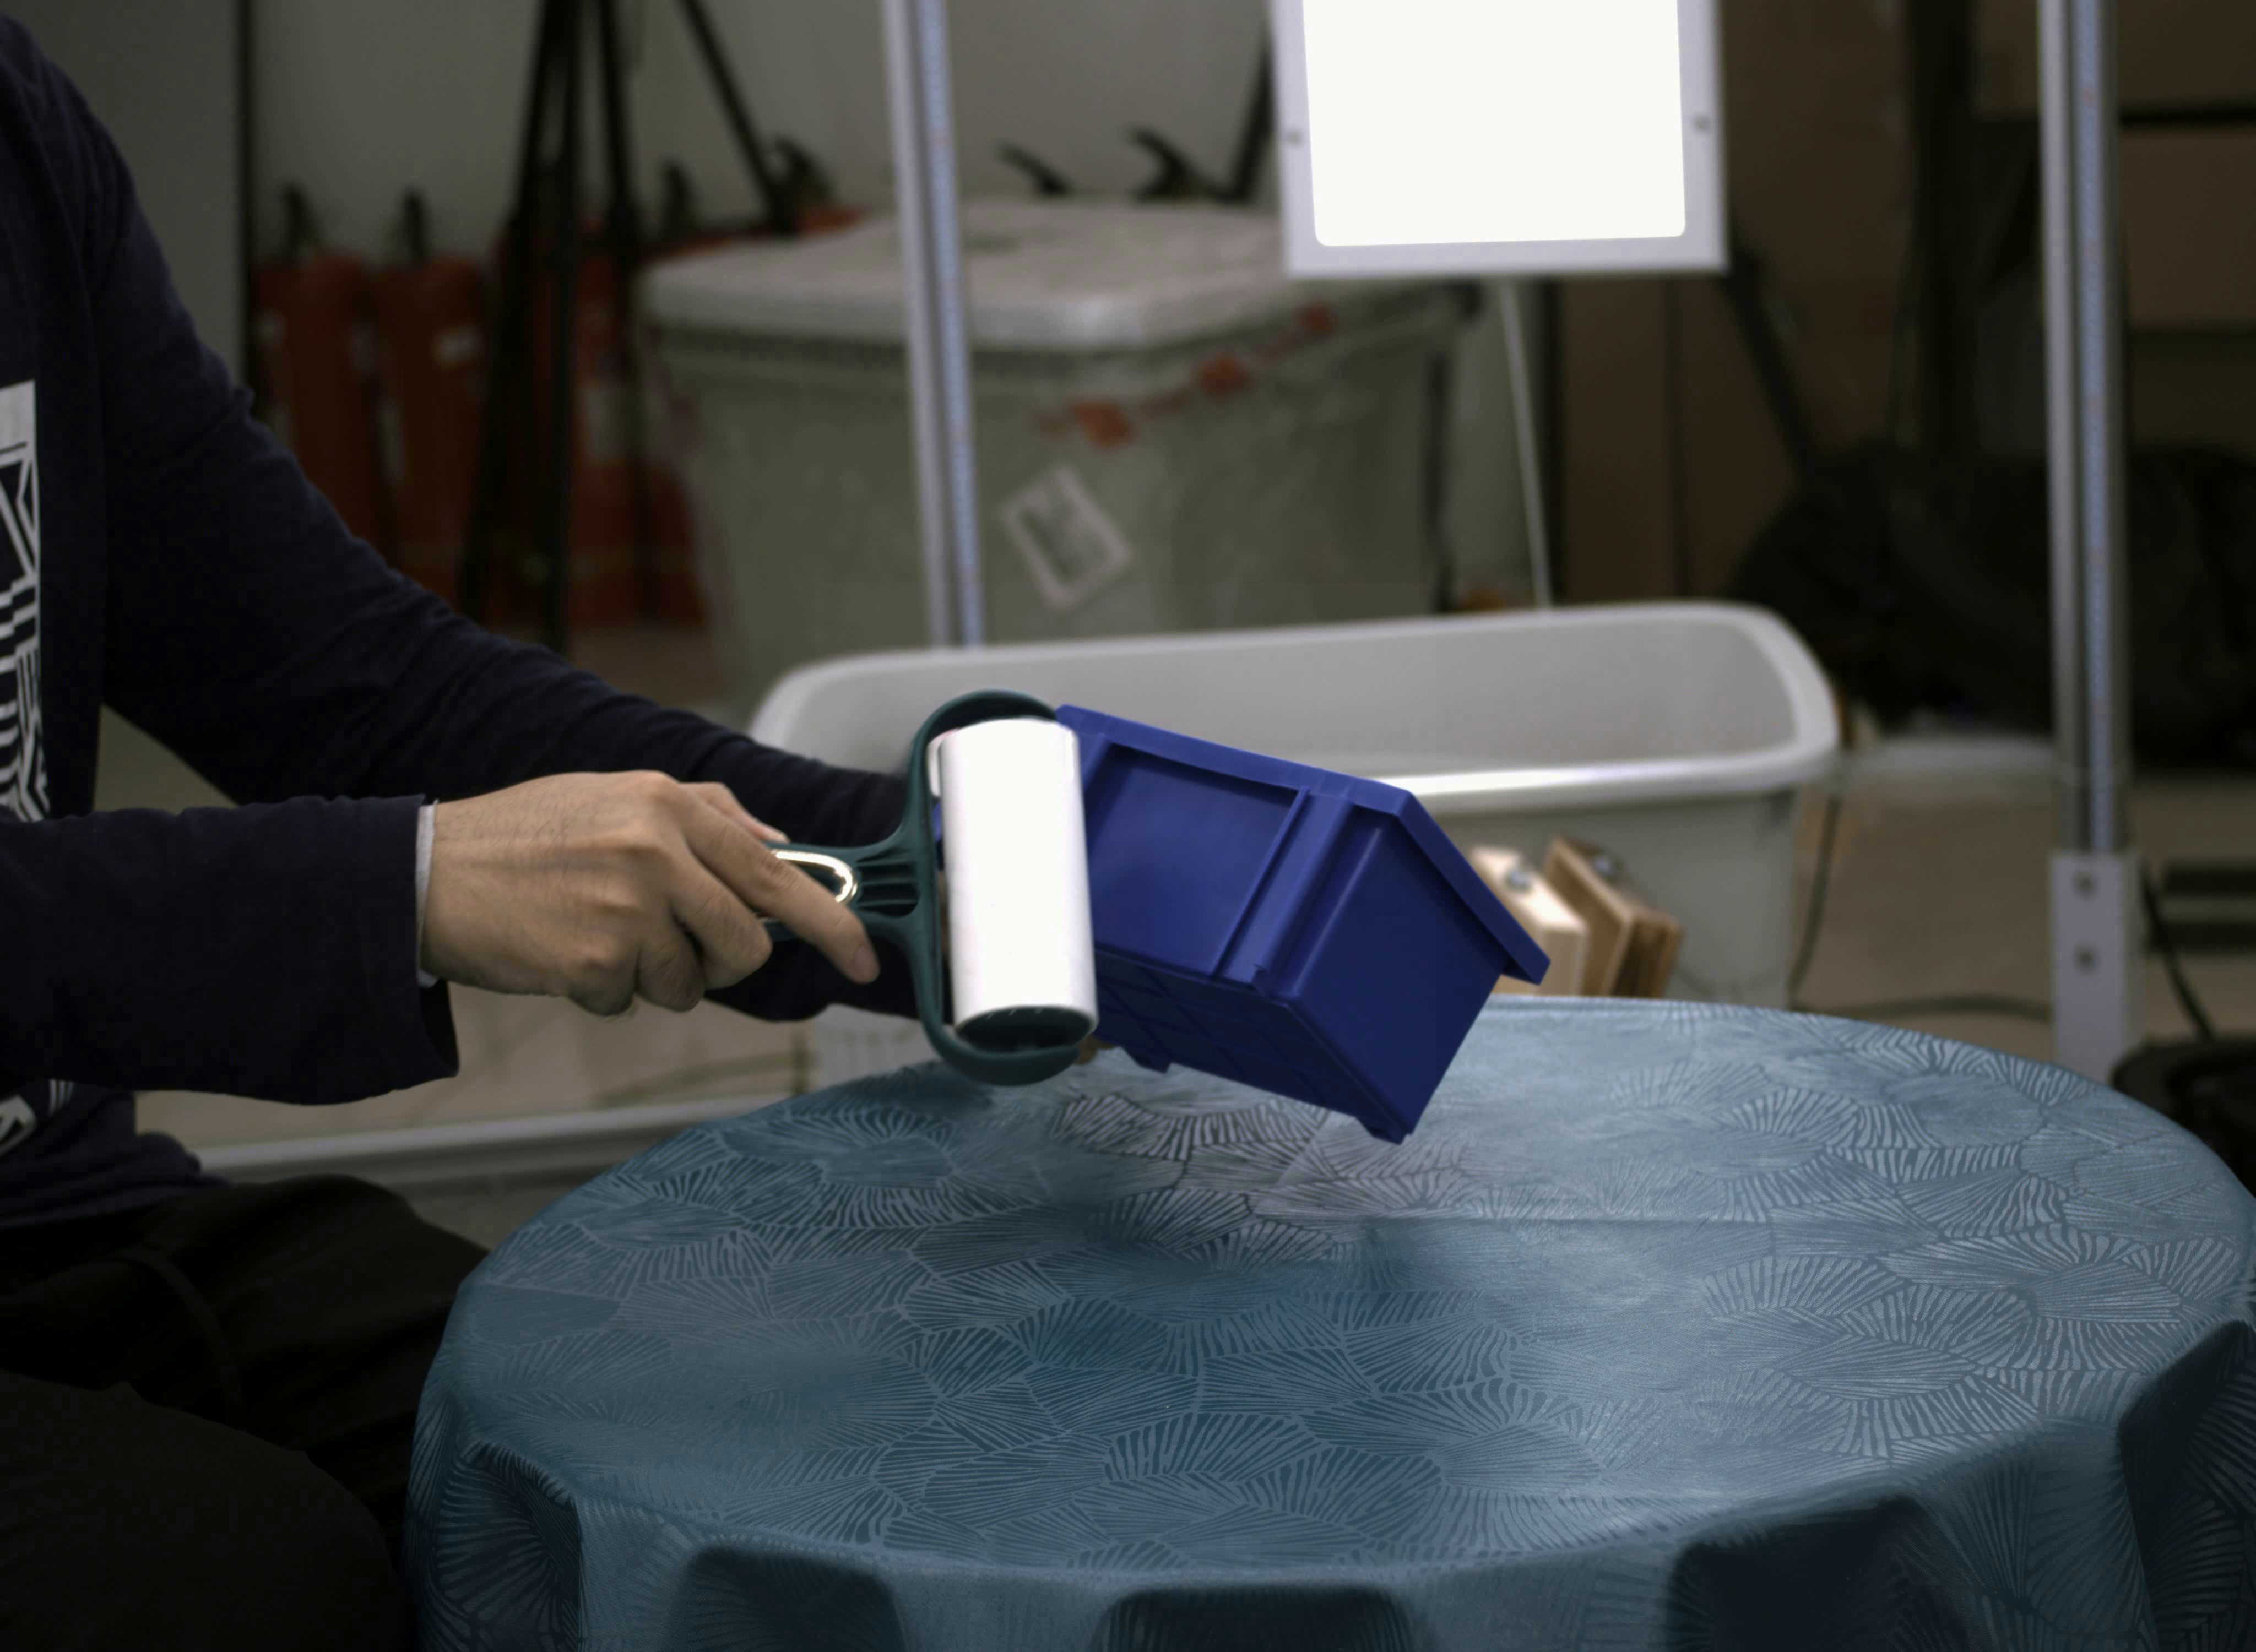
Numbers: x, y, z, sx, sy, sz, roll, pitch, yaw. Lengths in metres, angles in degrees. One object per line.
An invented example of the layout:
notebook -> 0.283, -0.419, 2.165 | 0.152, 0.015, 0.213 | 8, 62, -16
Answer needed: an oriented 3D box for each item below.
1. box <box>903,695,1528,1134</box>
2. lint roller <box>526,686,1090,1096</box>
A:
box -> 0.025, 0.028, 1.891 | 0.183, 0.081, 0.123 | 18, -18, 41
lint roller -> -0.104, 0.022, 1.791 | 0.178, 0.134, 0.049 | 0, -20, -9
